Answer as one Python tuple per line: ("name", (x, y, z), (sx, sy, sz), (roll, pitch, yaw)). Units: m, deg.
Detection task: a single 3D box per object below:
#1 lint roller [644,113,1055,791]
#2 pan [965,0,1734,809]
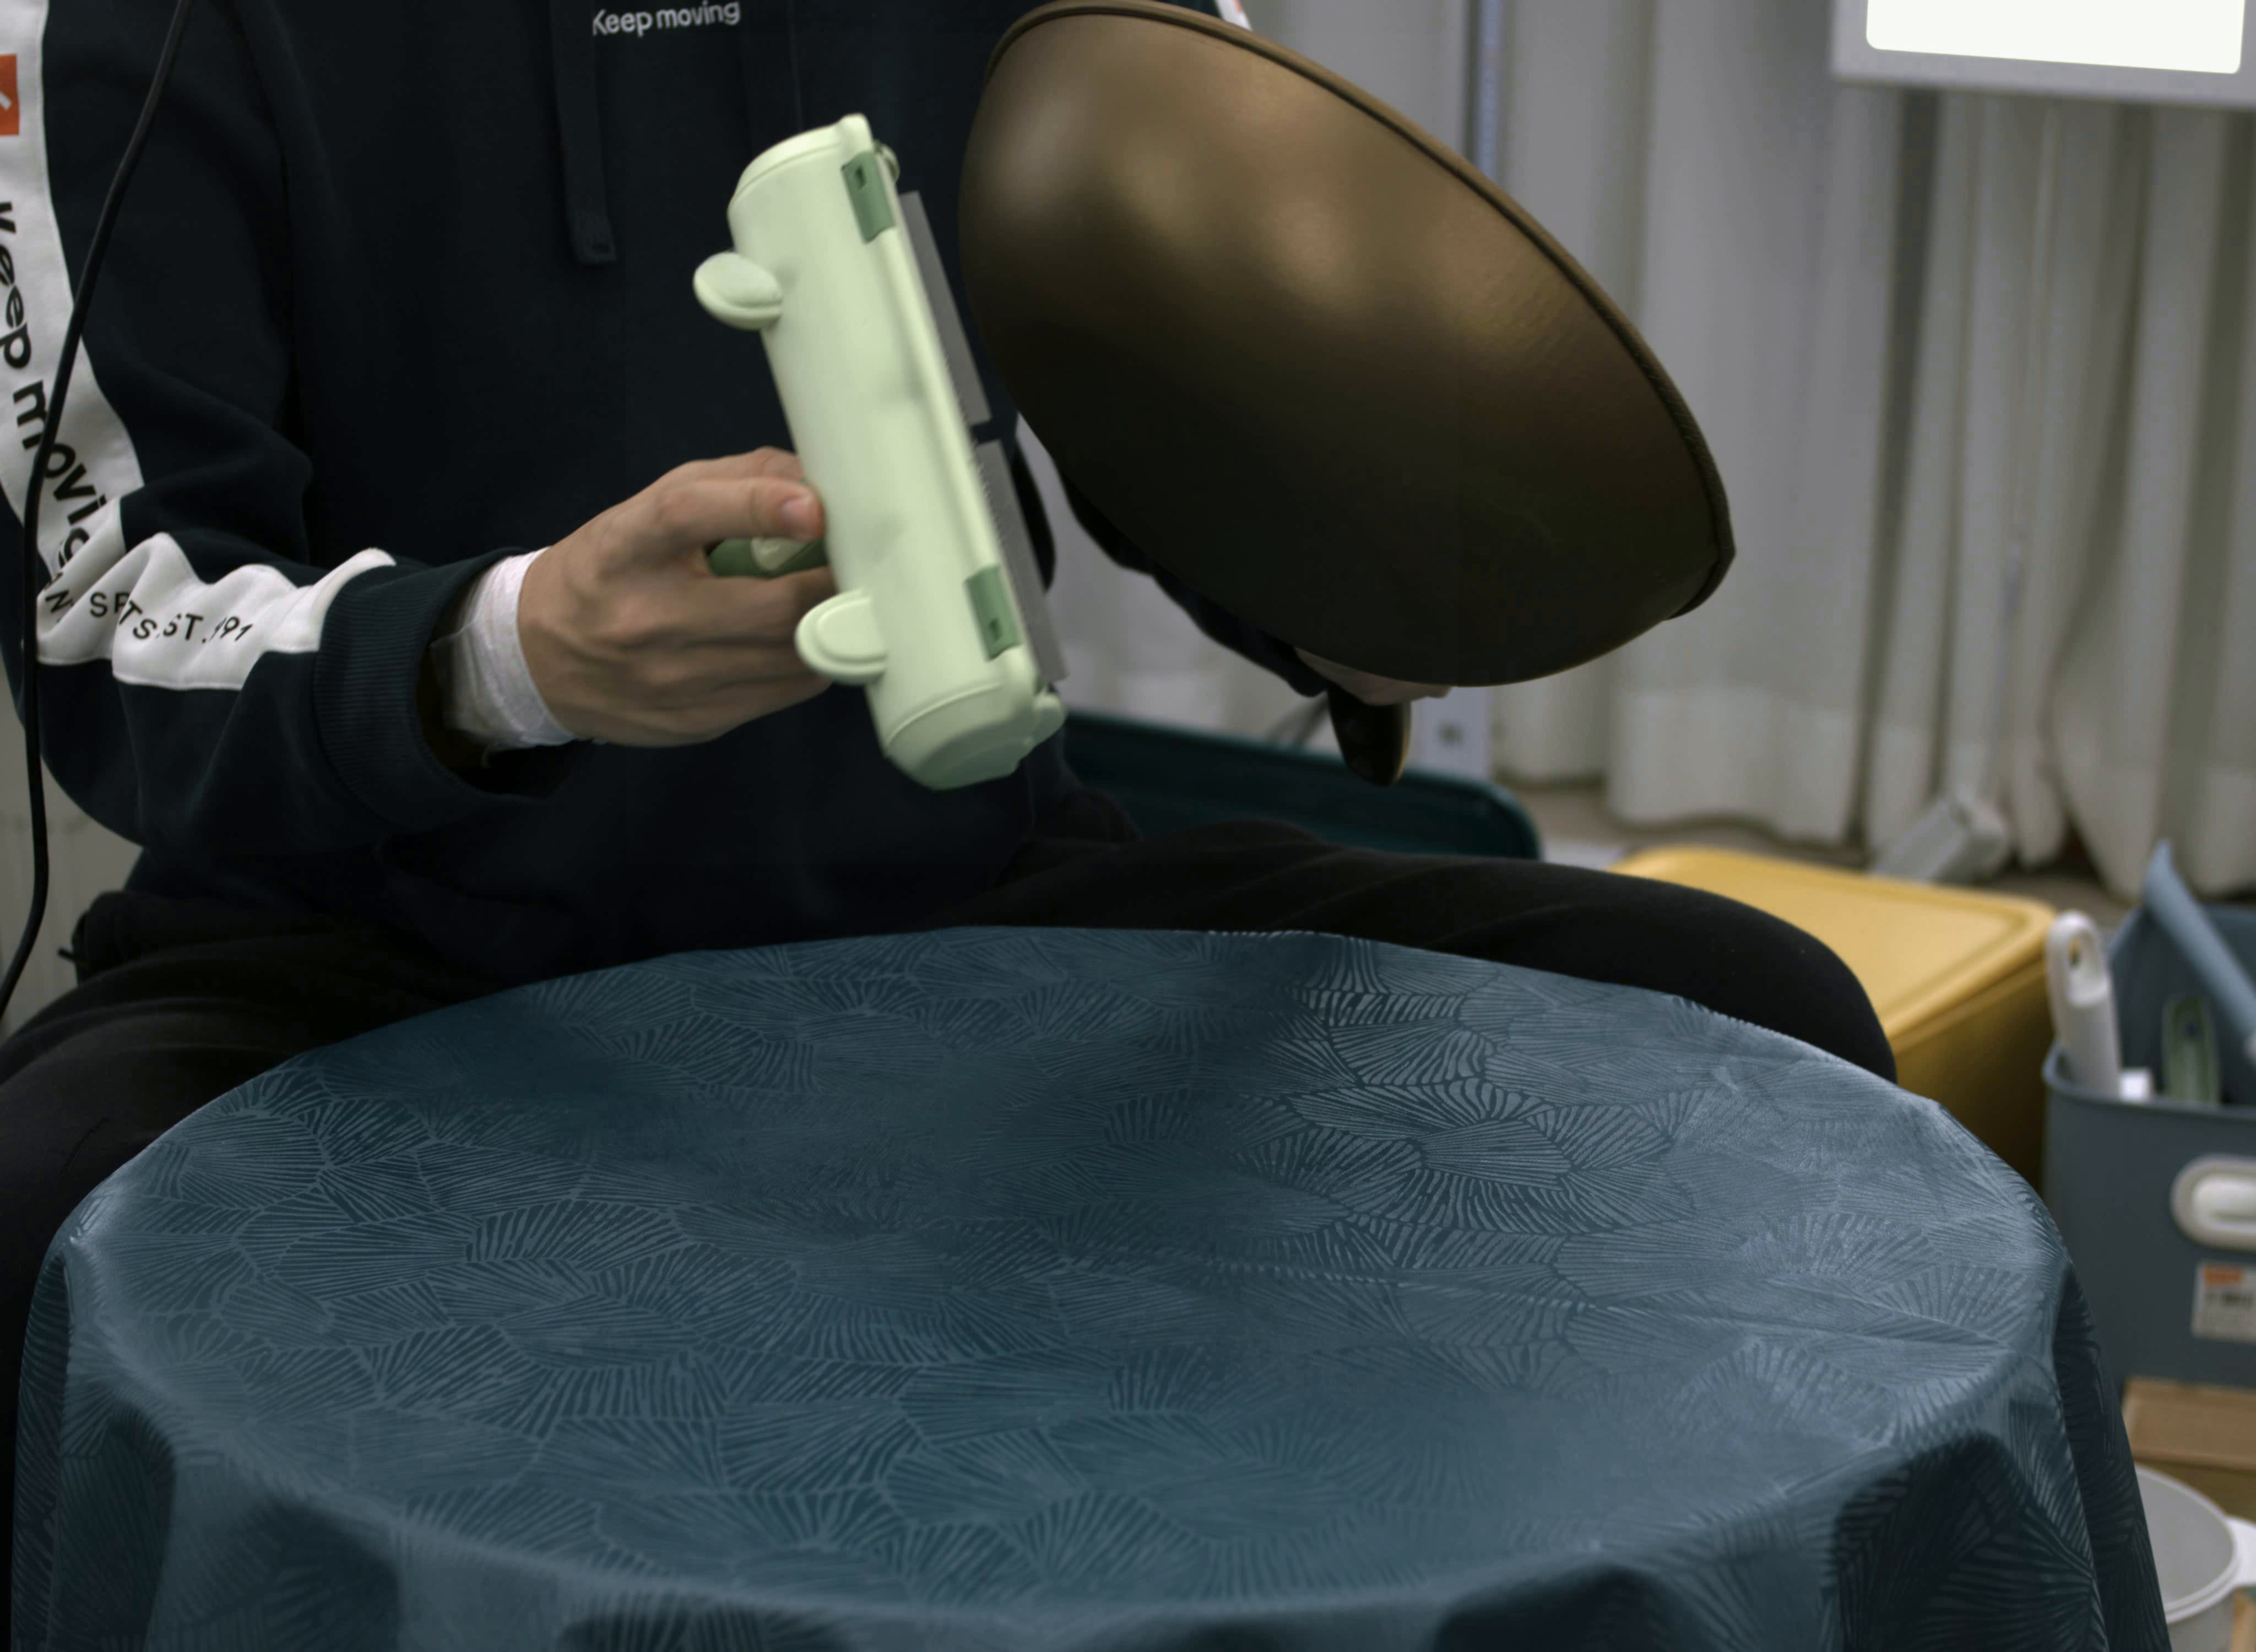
("lint roller", (-0.111, -0.085, 1.564), (0.083, 0.197, 0.182), (0, -24, -44))
("pan", (0.055, -0.094, 1.719), (0.285, 0.467, 0.087), (33, 71, 16))
